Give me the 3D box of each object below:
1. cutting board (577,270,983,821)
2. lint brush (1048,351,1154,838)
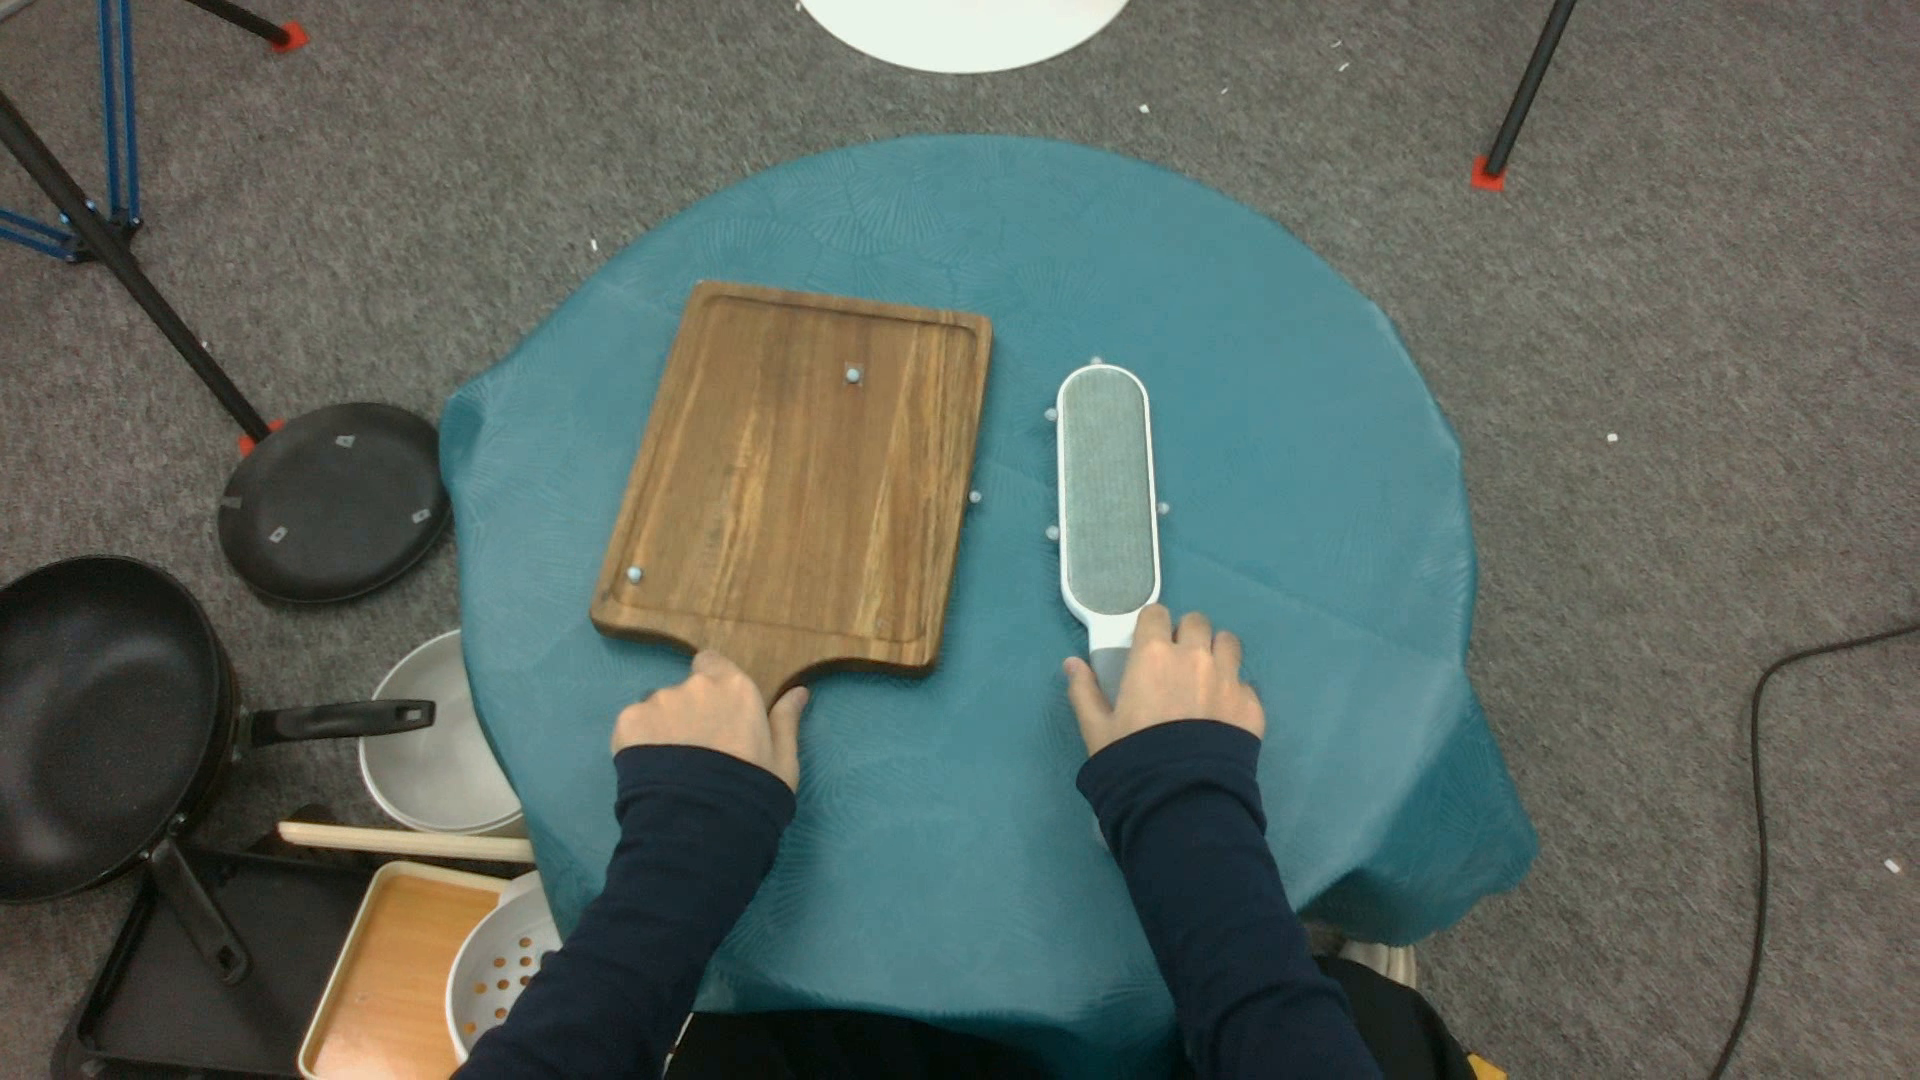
[{"bbox_3d":[-0.105,-0.010,0.794,0.201,0.023,0.353,8,60,3],"label":"cutting board"},{"bbox_3d":[0.080,0.017,0.778,0.060,0.021,0.310,4,59,-4],"label":"lint brush"}]
